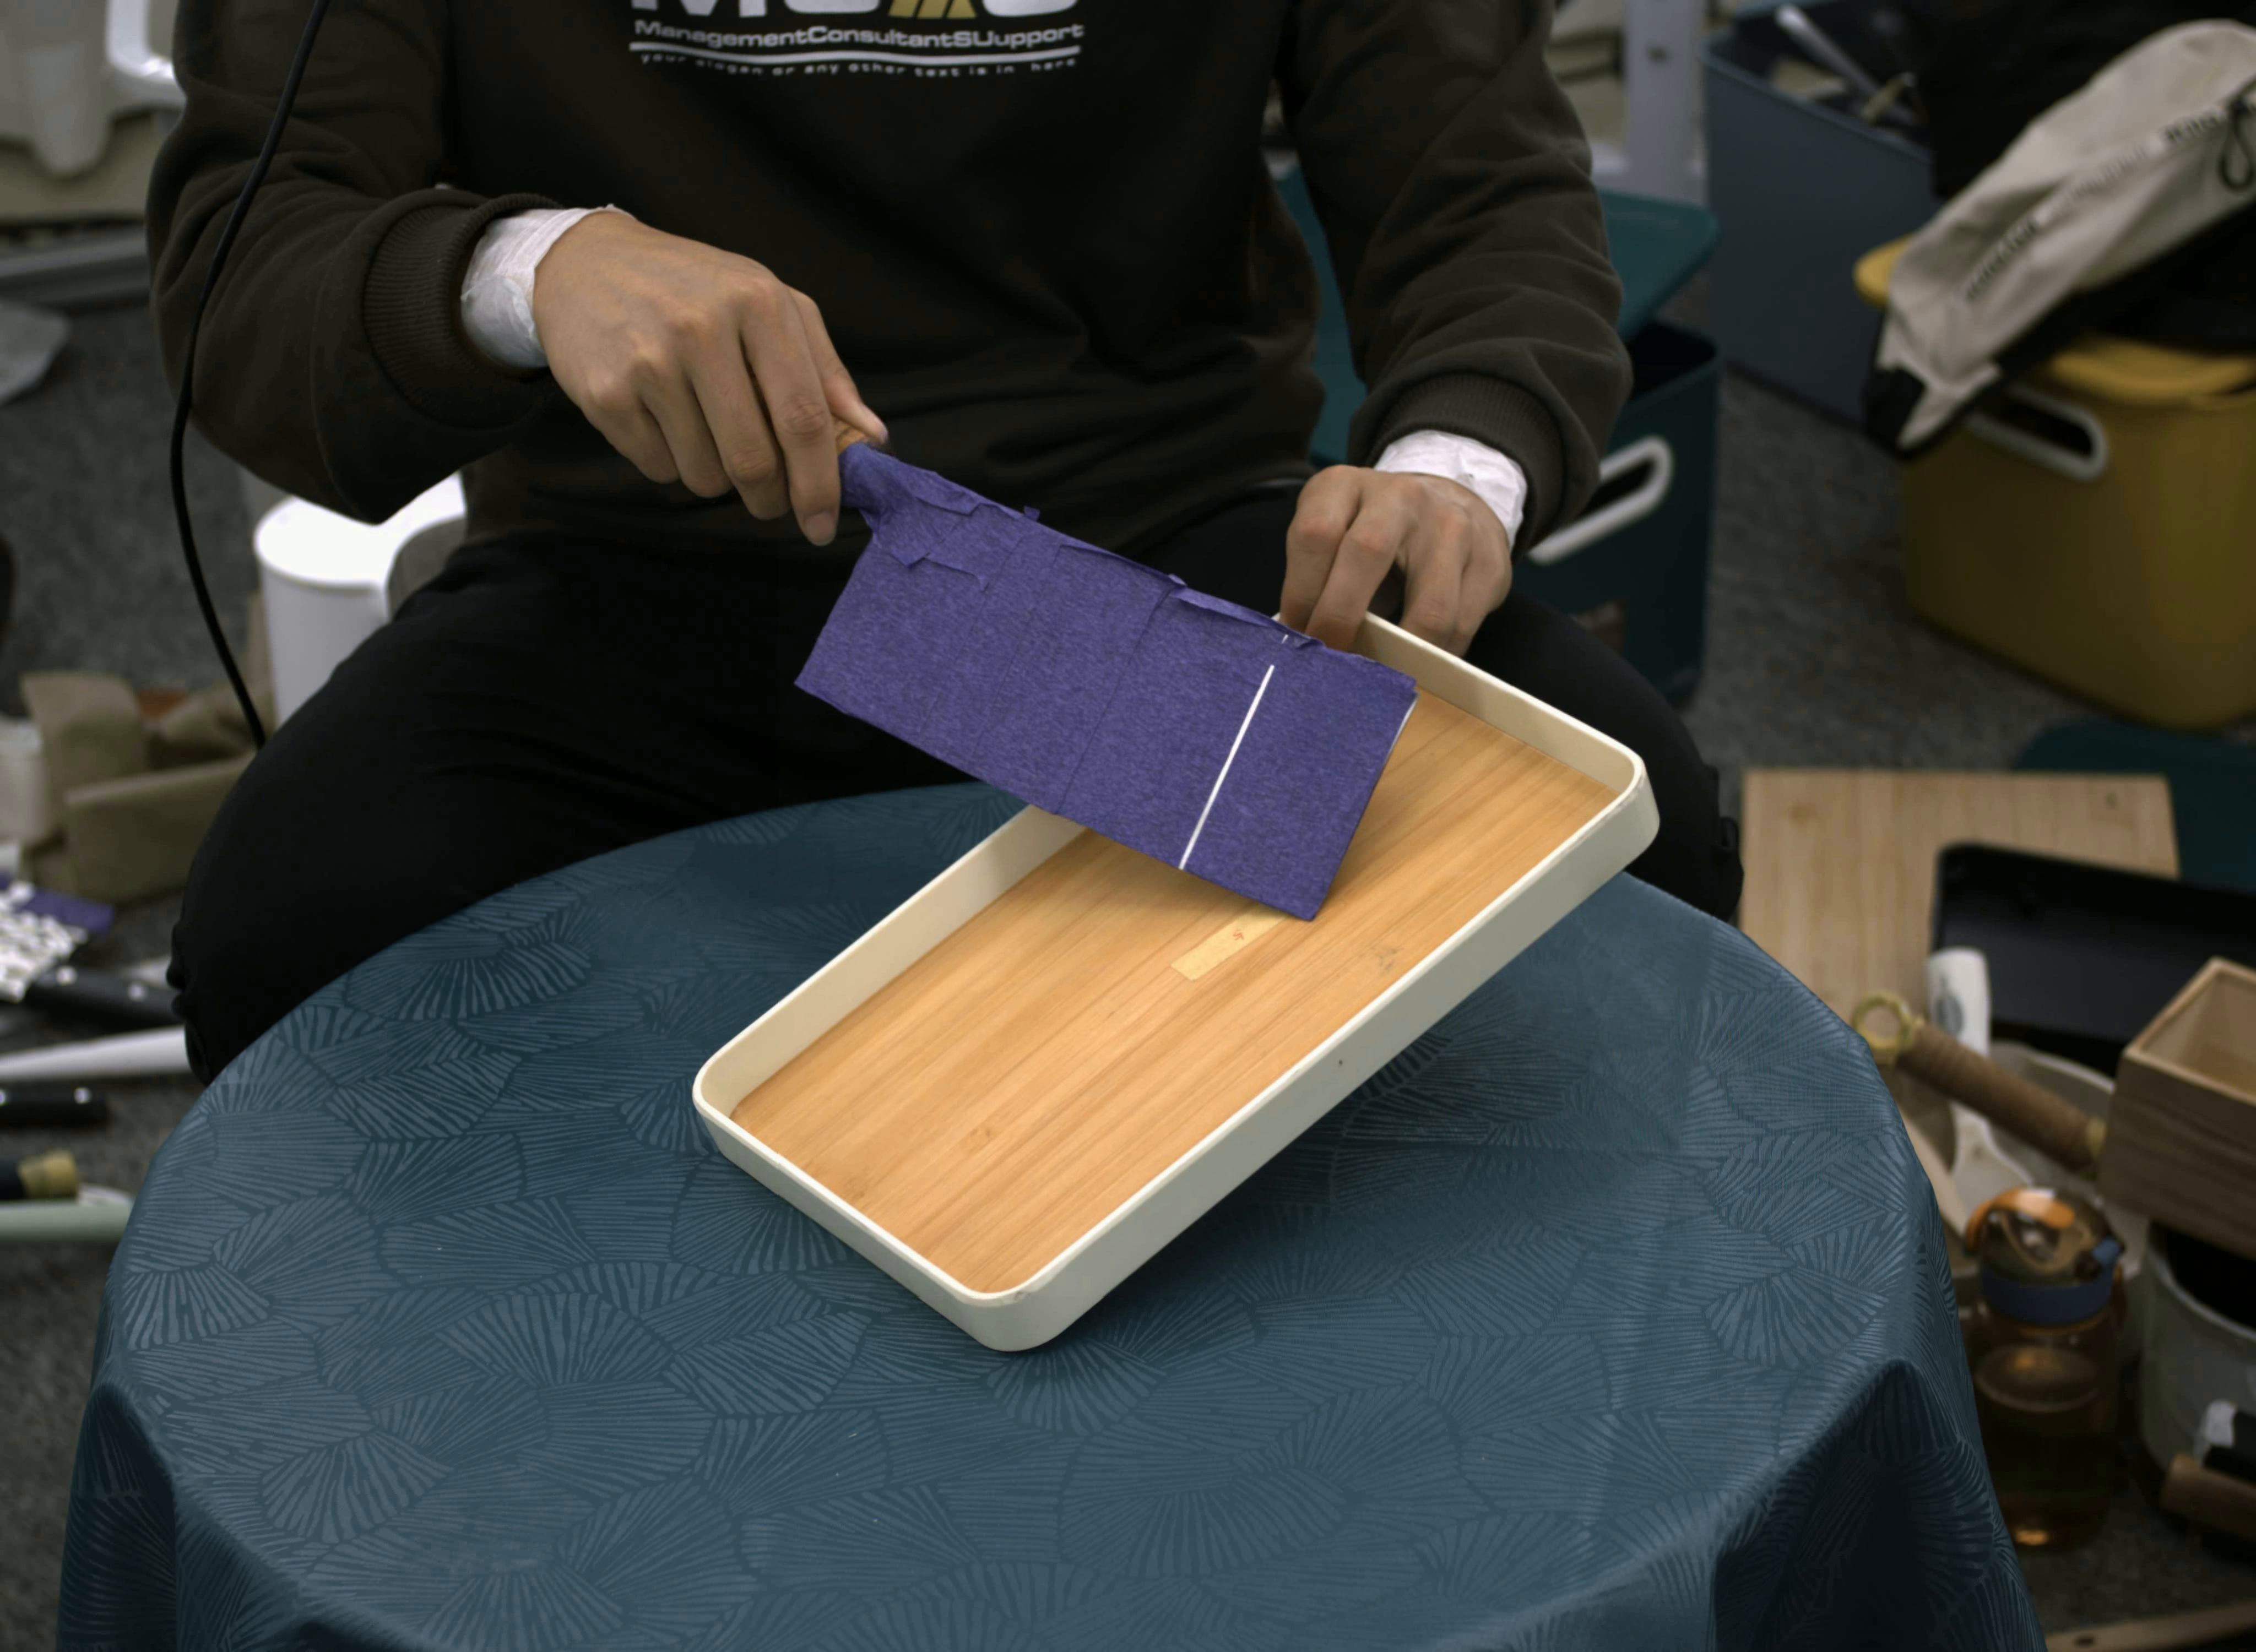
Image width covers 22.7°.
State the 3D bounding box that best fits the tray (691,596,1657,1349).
[{"bbox_3d":[0.015,0.043,1.884,0.303,0.027,0.192,-38,39,-20],"label":"tray"}]

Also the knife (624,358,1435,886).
[{"bbox_3d":[-0.051,-0.070,1.940,0.314,0.105,0.032,23,-11,21],"label":"knife"}]
